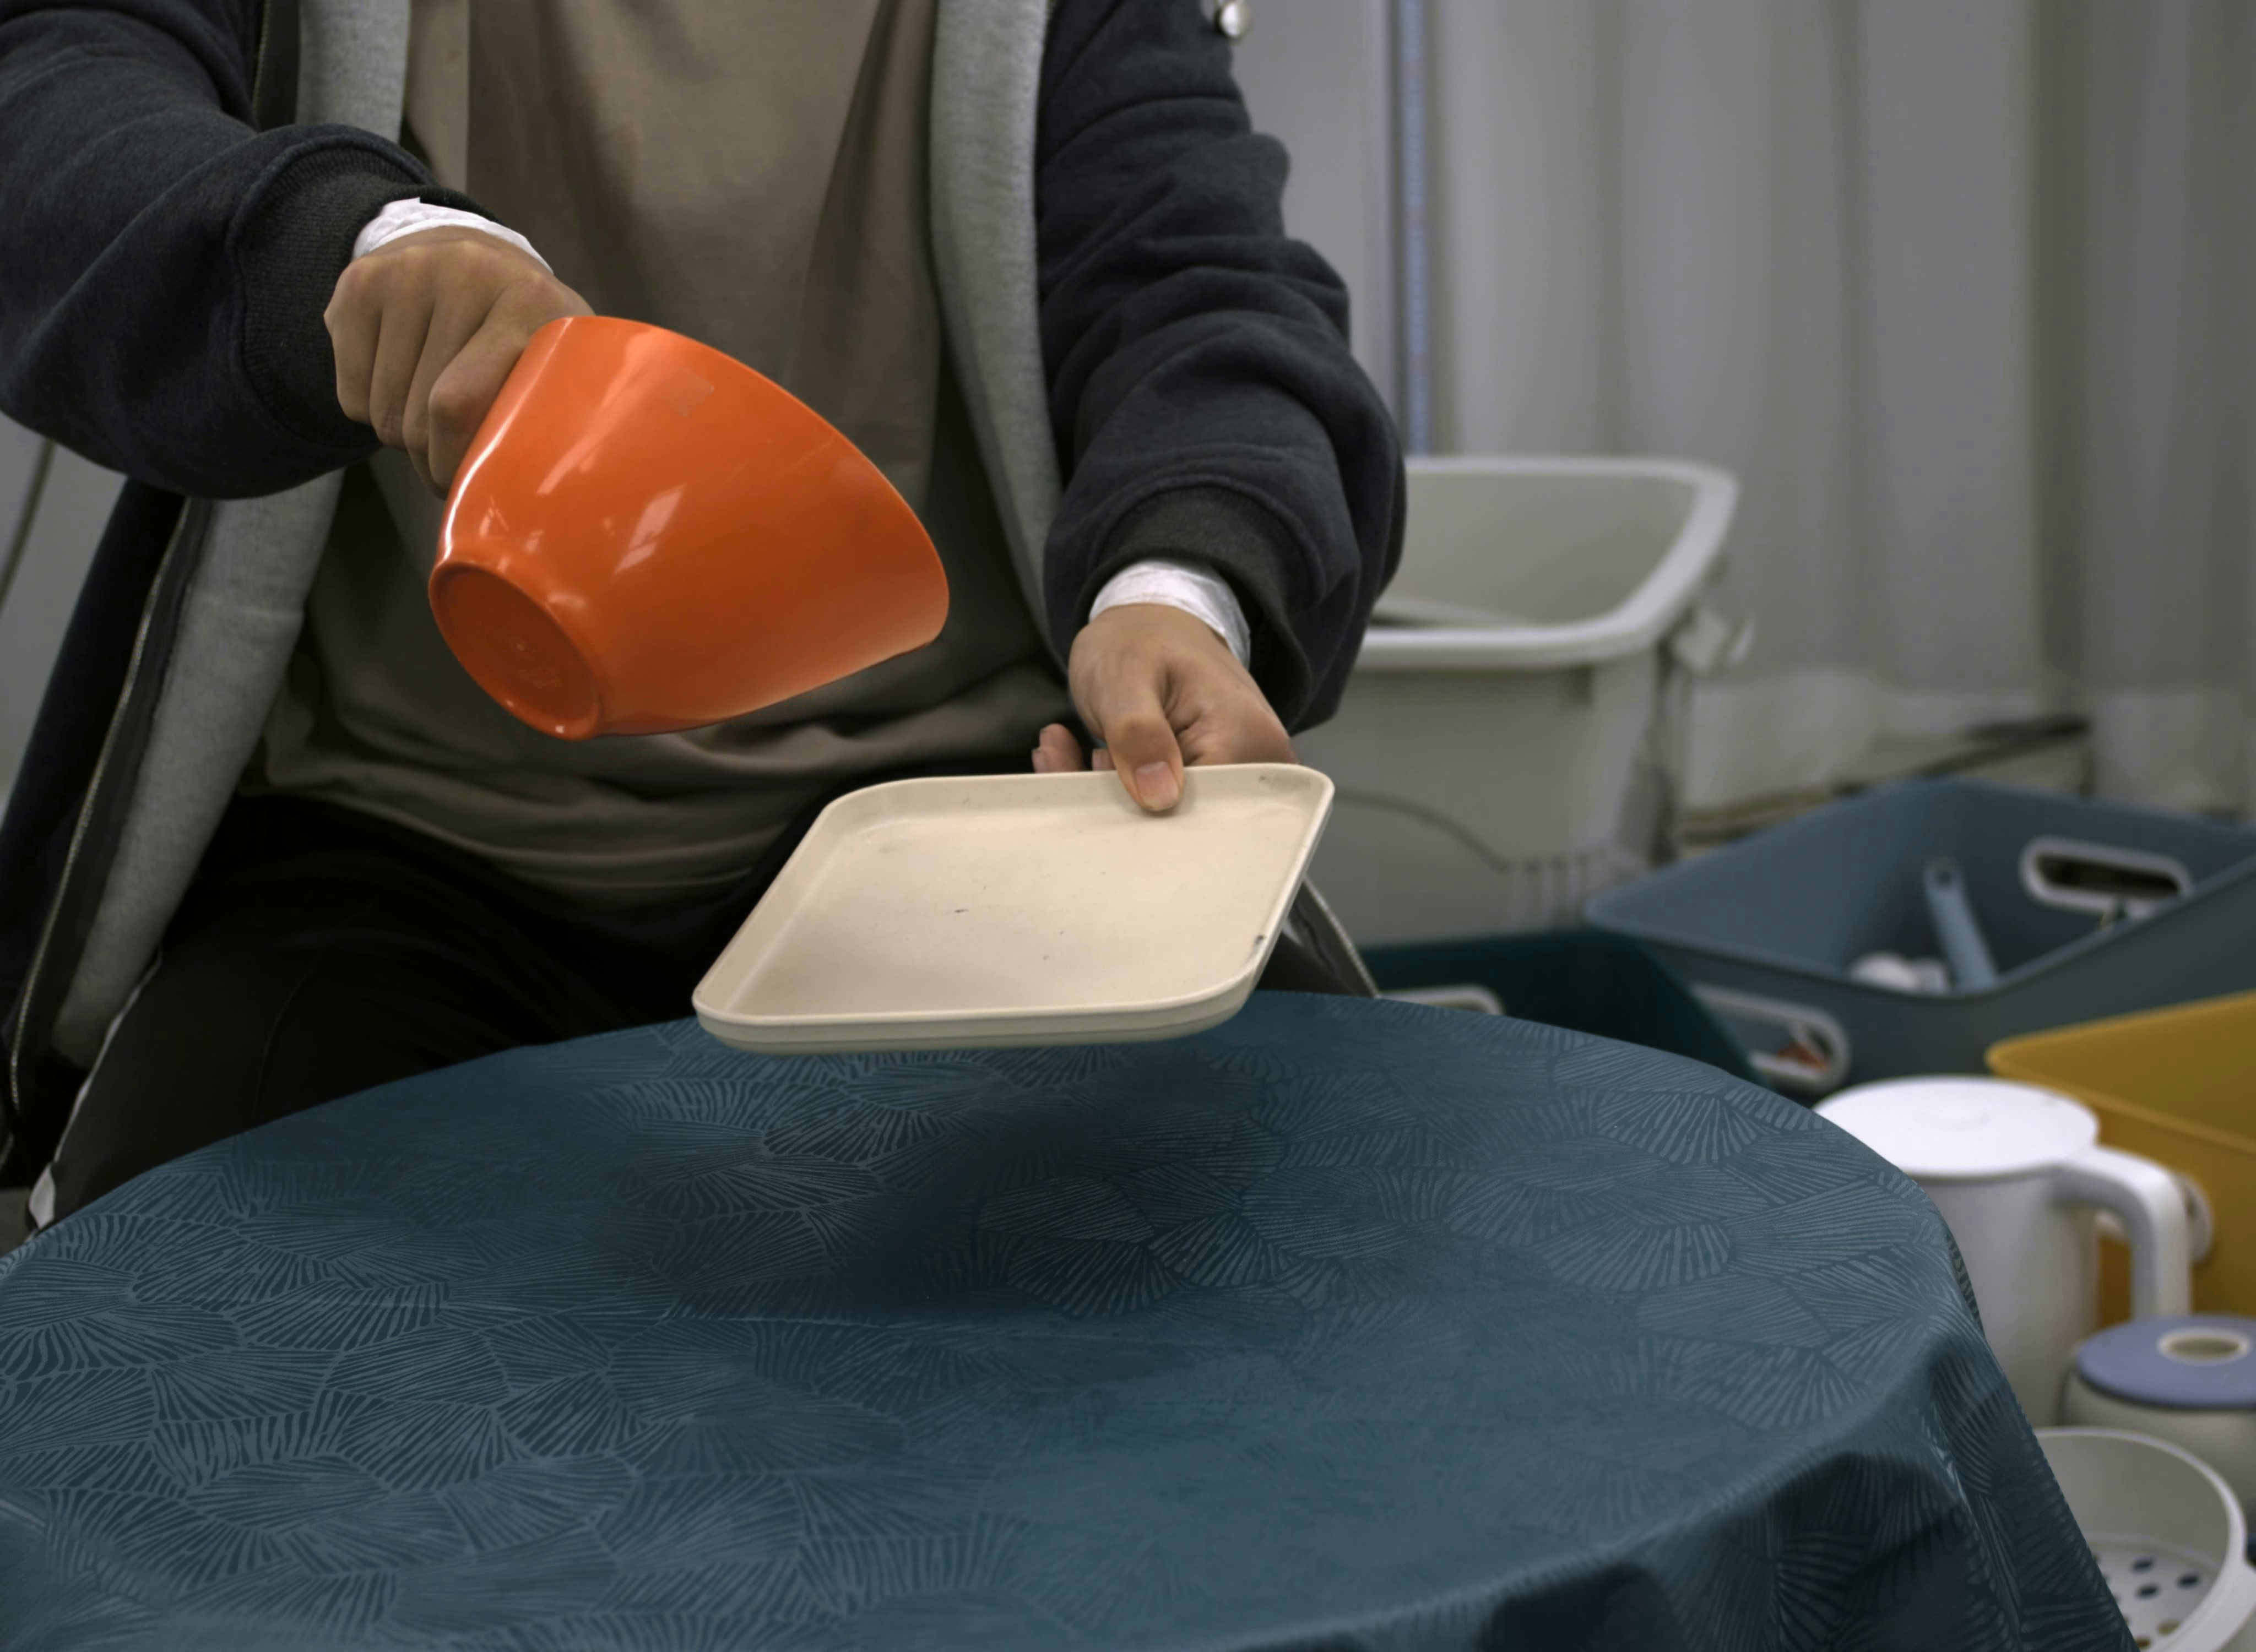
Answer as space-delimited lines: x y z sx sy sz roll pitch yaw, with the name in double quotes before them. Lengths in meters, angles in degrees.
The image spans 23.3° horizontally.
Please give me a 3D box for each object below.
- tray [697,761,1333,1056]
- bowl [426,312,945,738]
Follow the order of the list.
"tray" -0.030 0.025 1.689 0.171 0.017 0.241 -3 17 11
"bowl" -0.141 -0.074 1.612 0.149 0.146 0.105 13 48 45
